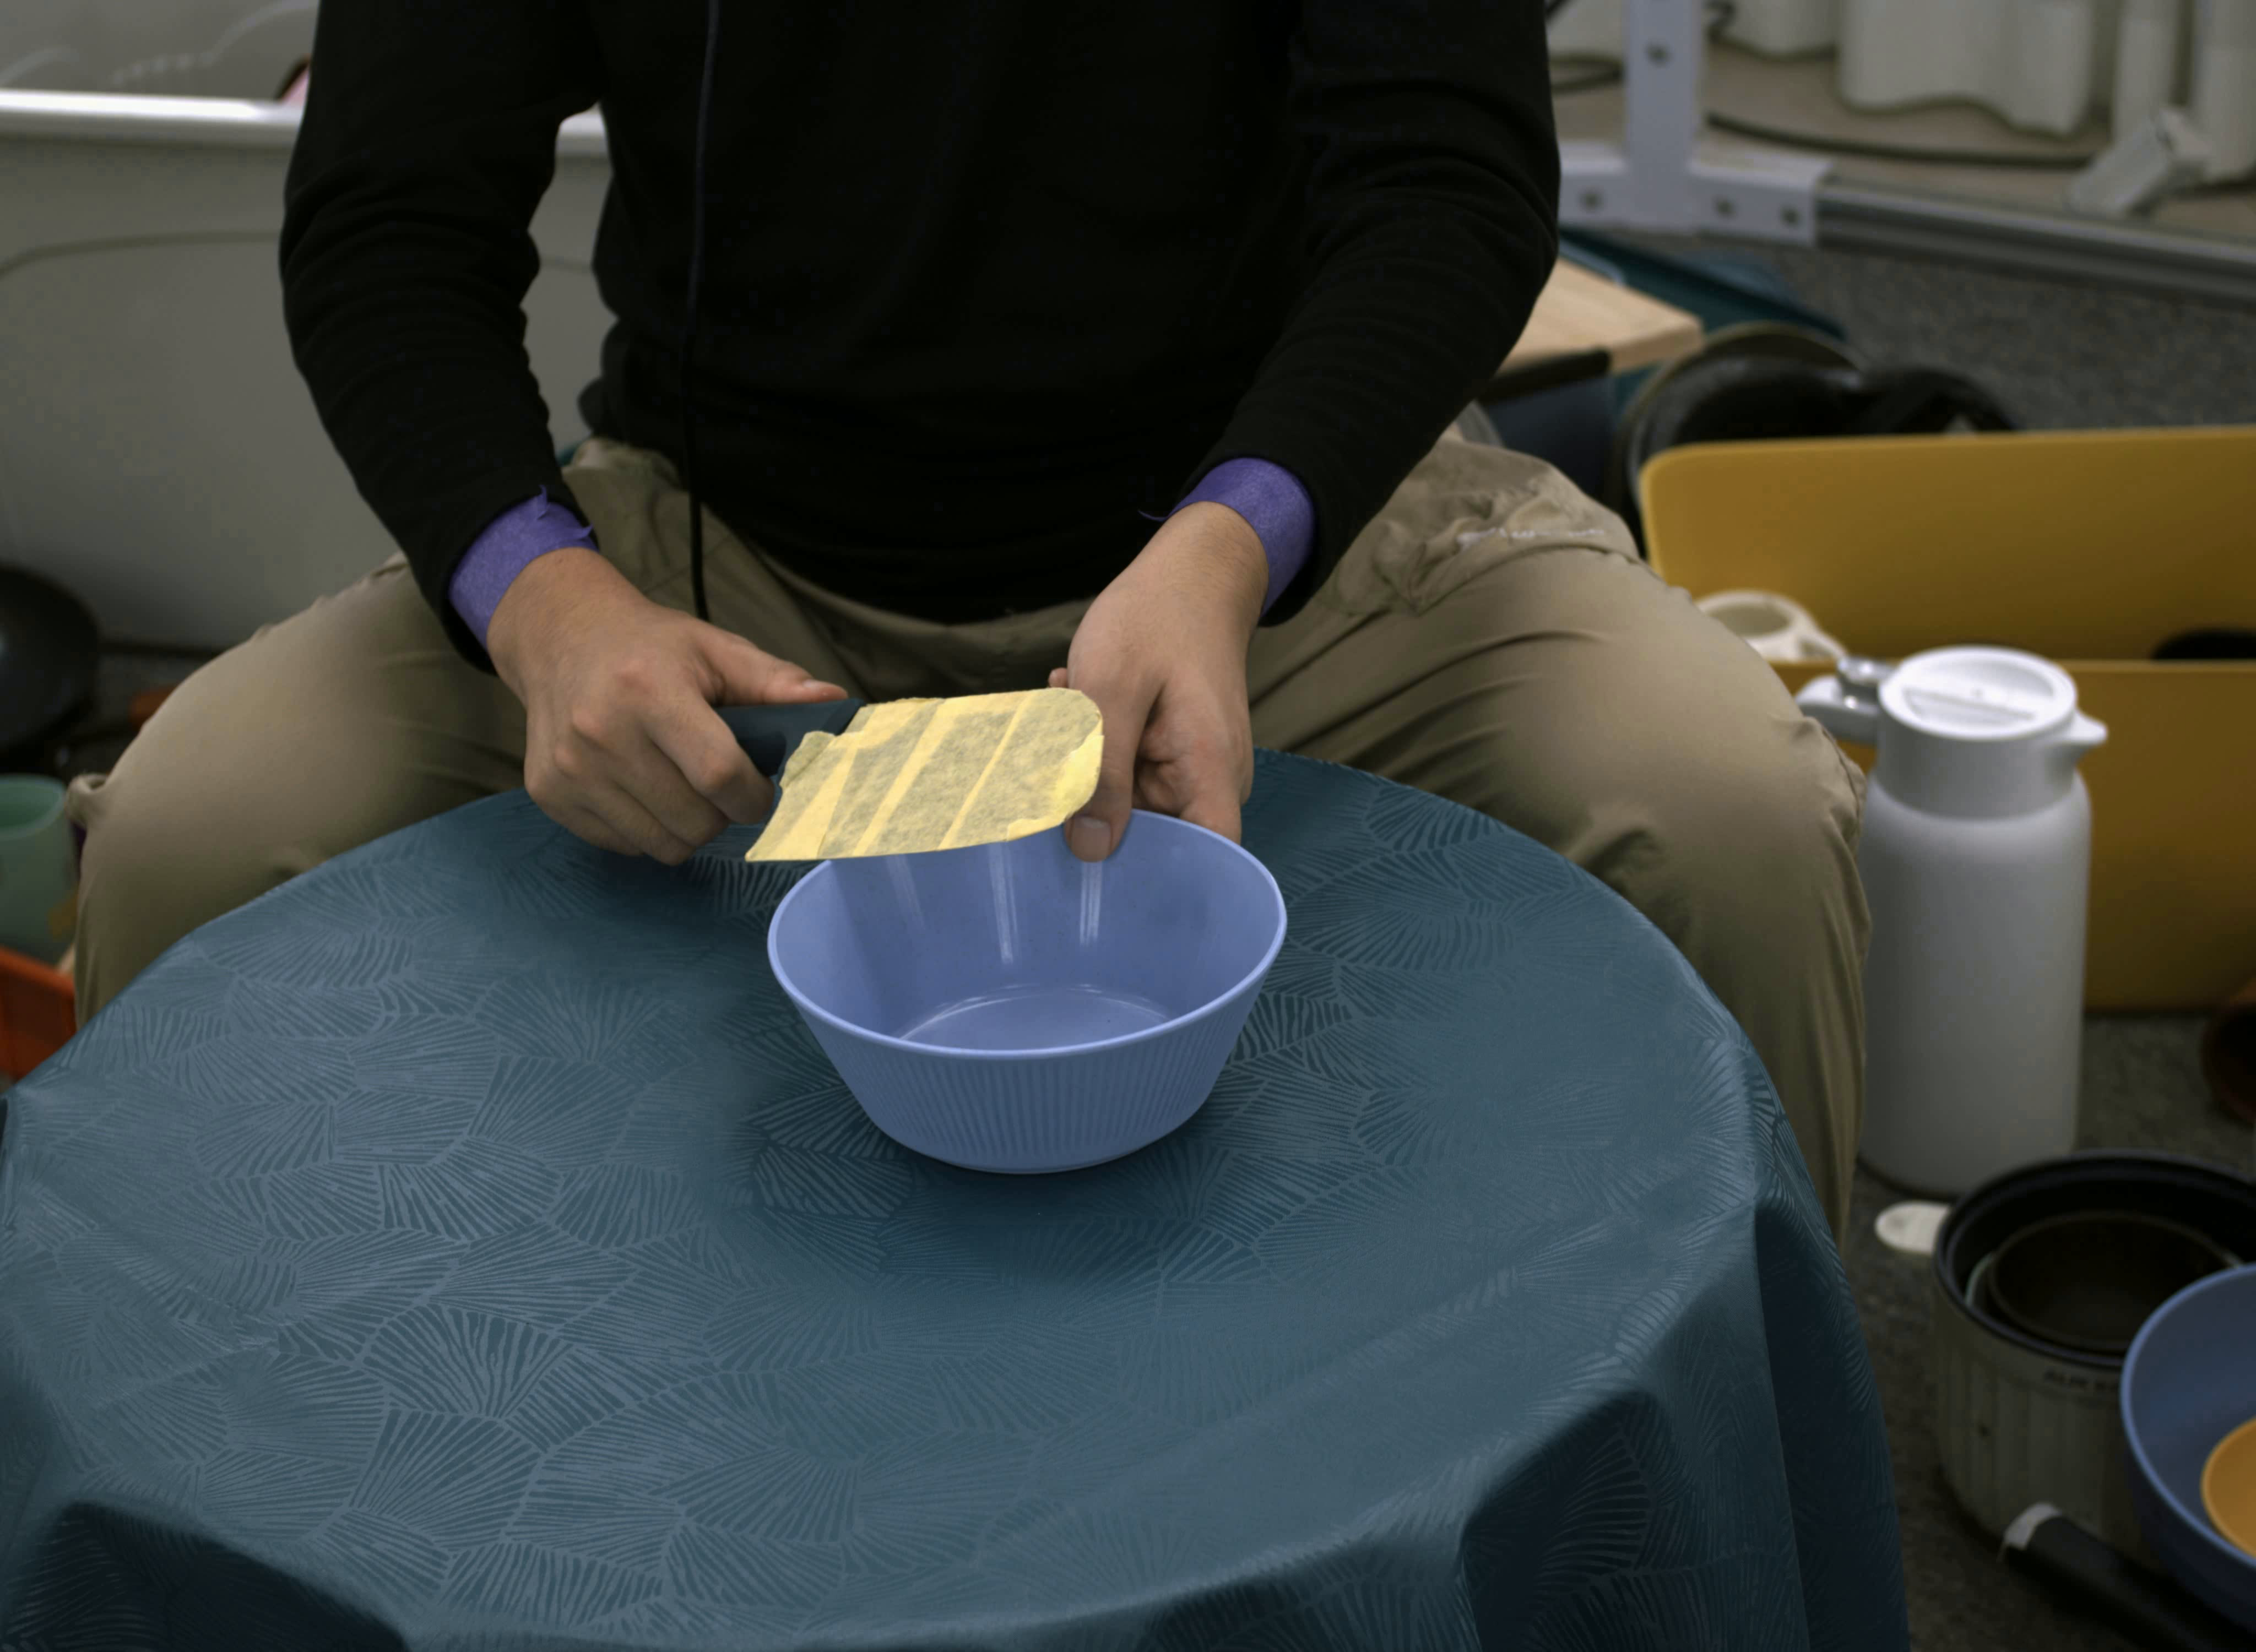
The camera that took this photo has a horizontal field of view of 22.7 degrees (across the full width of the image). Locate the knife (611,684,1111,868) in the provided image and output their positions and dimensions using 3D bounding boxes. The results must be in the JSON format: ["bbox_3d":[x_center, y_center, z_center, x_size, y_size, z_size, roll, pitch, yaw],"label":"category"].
[{"bbox_3d":[-0.100,-0.015,1.976,0.286,0.027,0.082,-4,43,50],"label":"knife"}]

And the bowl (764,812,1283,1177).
[{"bbox_3d":[-0.034,0.063,1.902,0.175,0.069,0.179,-3,27,2],"label":"bowl"}]
